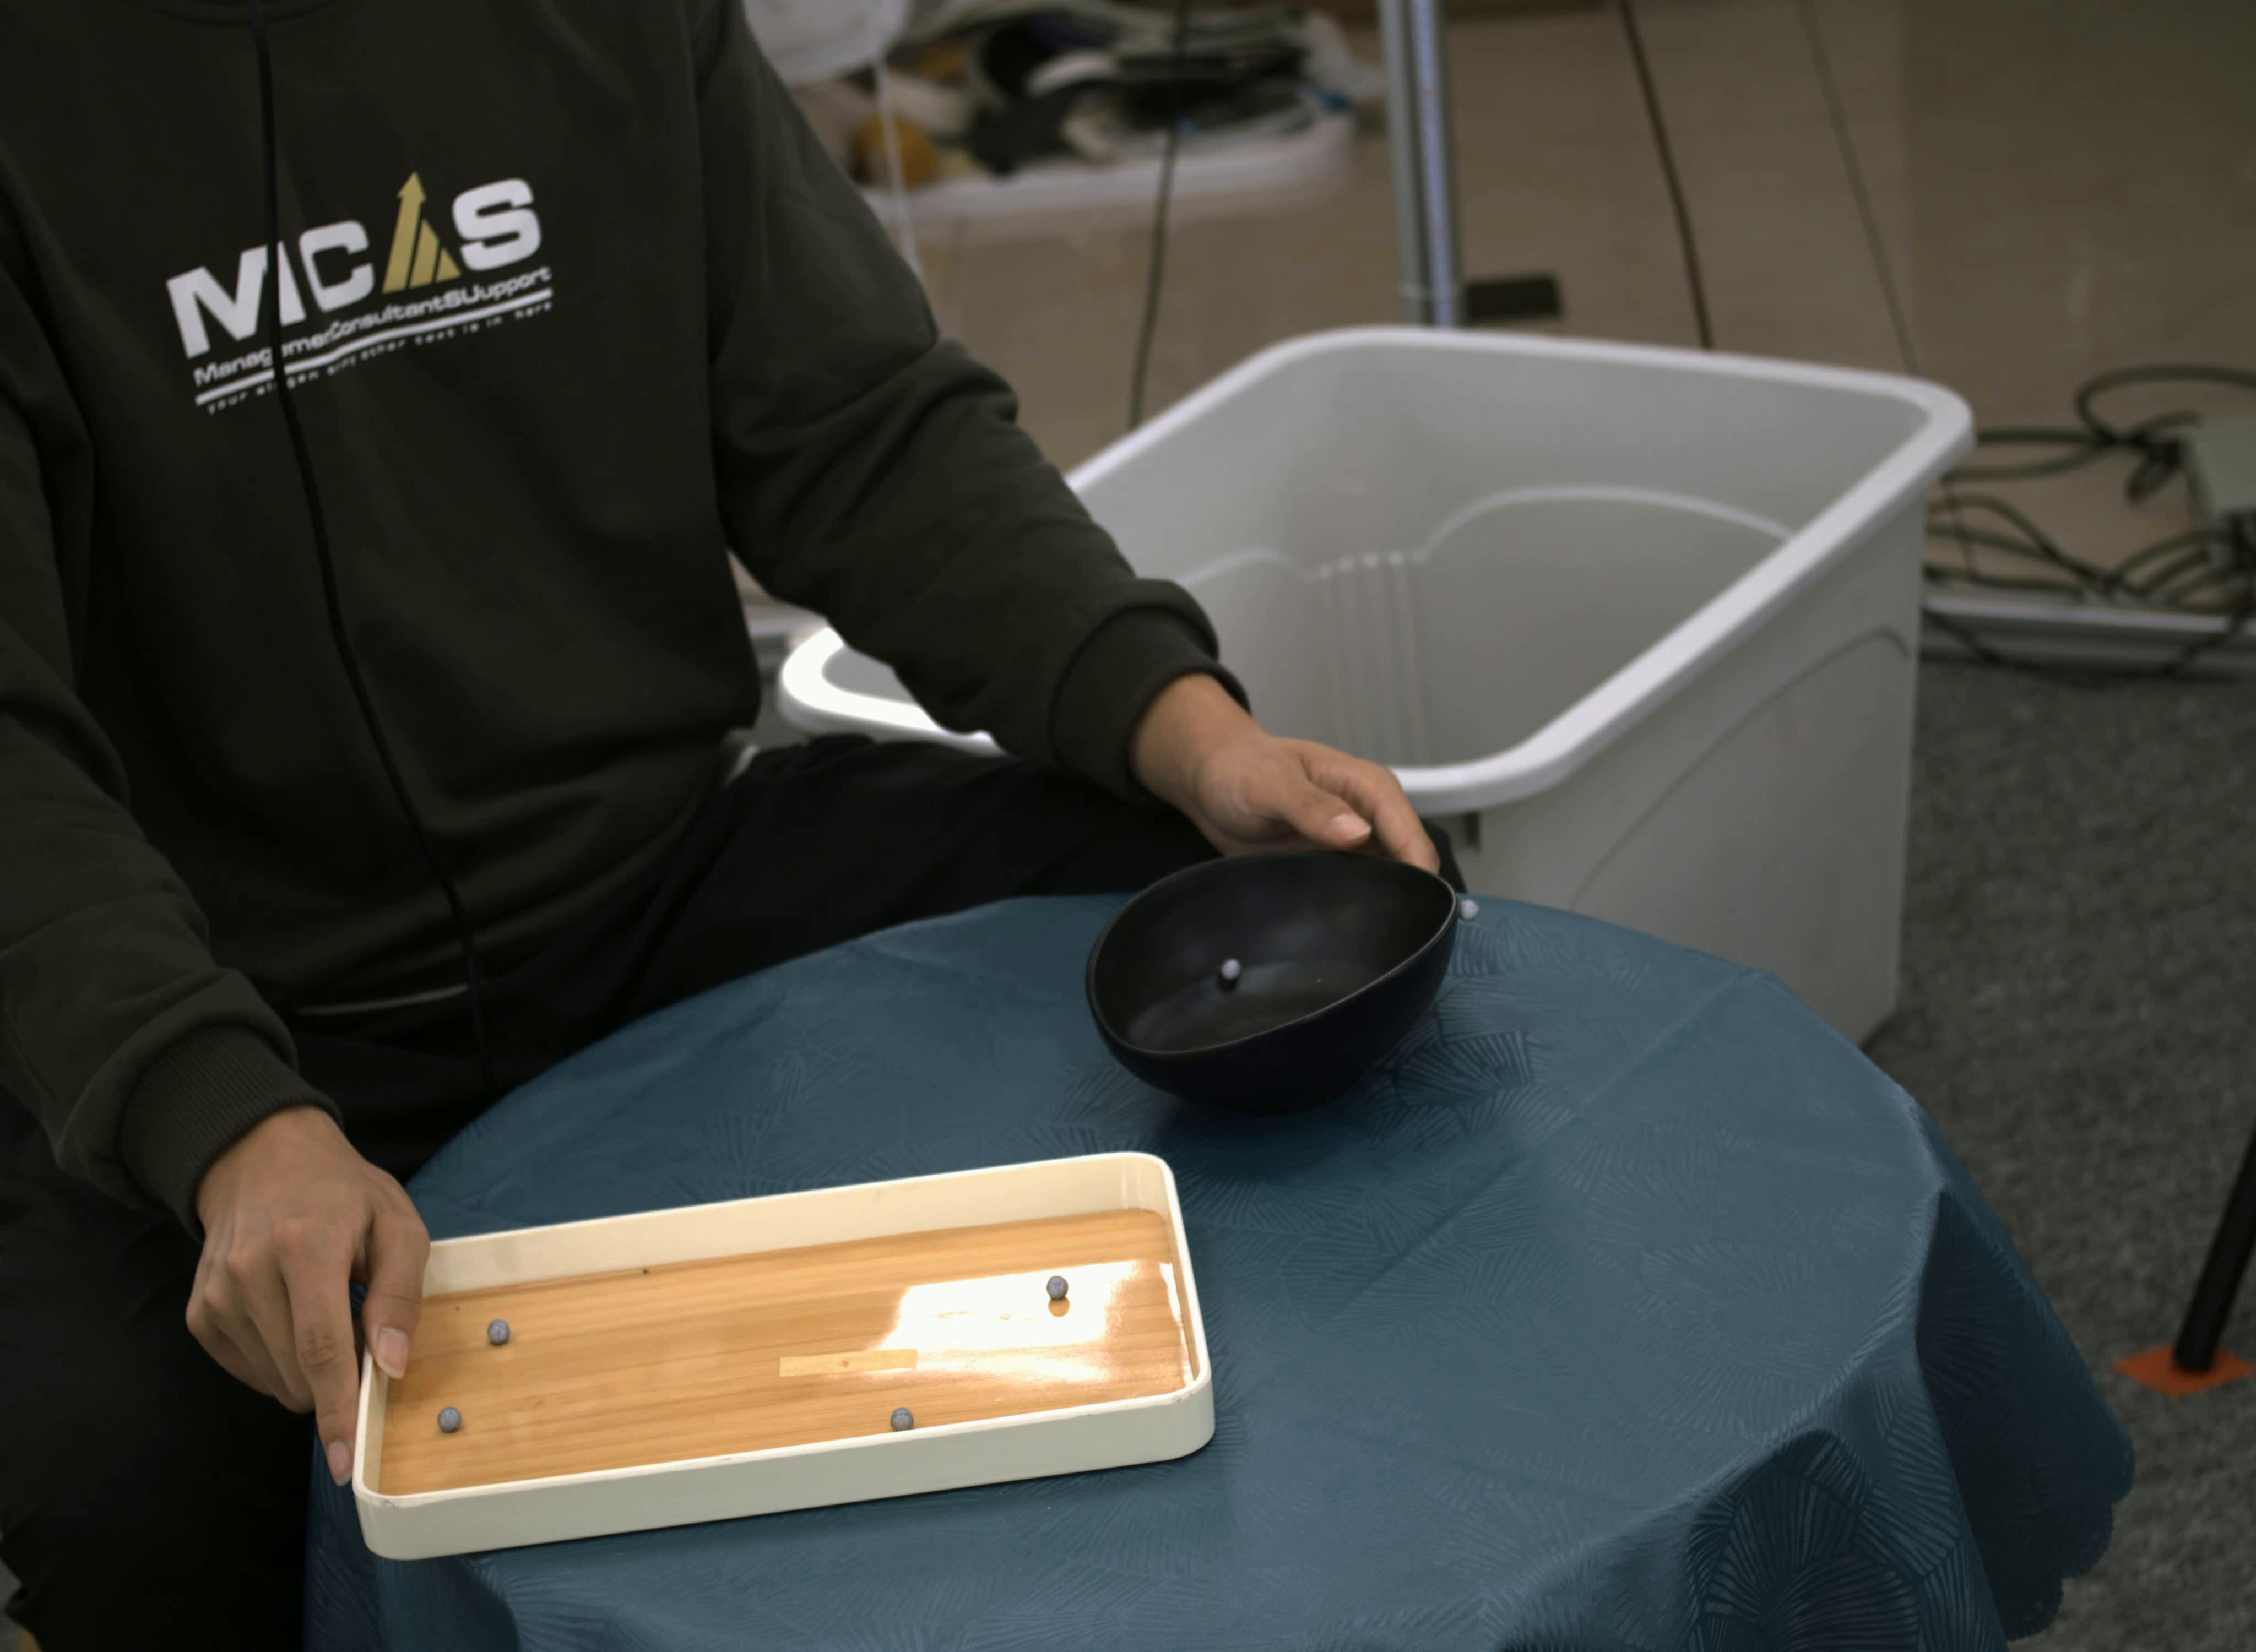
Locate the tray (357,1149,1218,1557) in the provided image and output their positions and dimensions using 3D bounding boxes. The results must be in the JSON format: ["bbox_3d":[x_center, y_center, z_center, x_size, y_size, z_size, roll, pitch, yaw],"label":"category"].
[{"bbox_3d":[-0.124,0.187,2.040,0.300,0.028,0.189,-7,25,-2],"label":"tray"}]

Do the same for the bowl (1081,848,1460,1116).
[{"bbox_3d":[0.059,0.069,2.211,0.136,0.068,0.168,10,31,34],"label":"bowl"}]
